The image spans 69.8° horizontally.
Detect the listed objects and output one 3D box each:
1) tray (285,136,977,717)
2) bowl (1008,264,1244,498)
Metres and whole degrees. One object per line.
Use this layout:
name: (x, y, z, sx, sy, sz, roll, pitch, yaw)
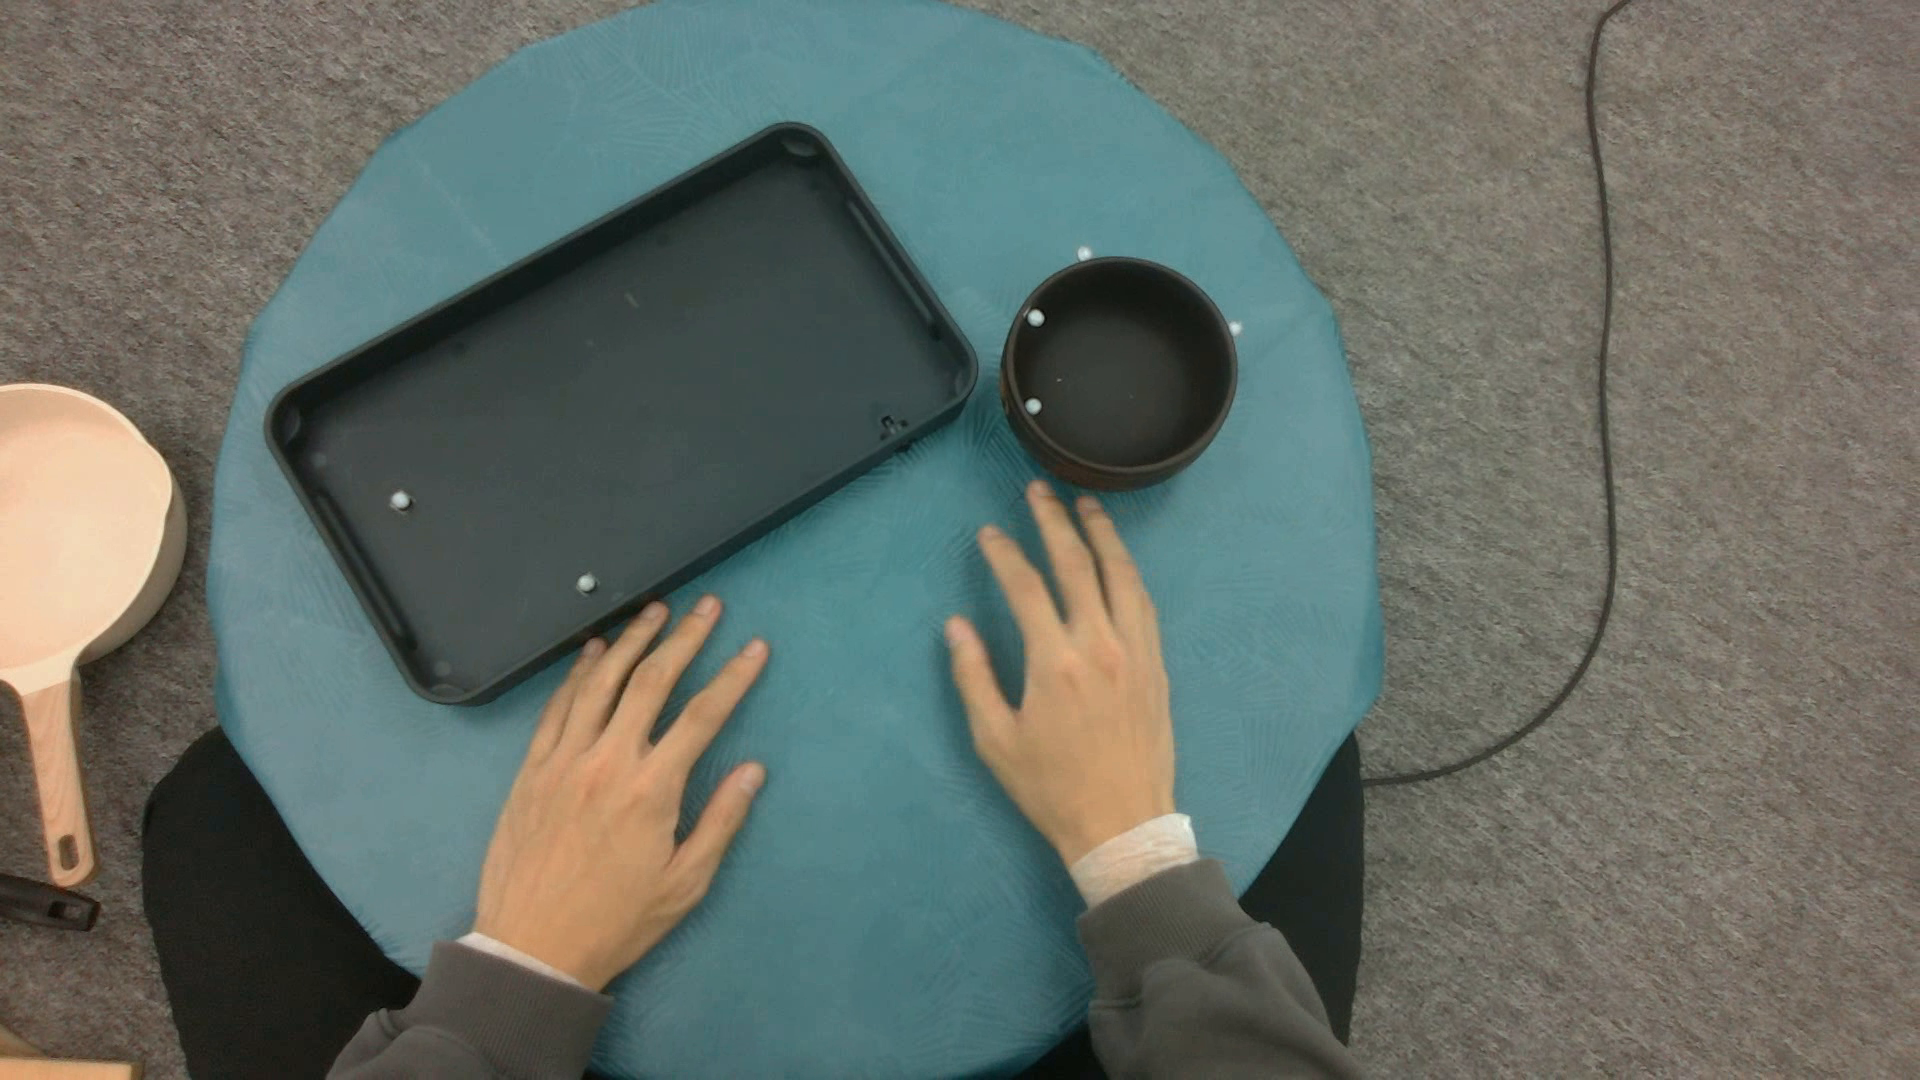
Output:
tray: (-0.164, -0.064, 0.717, 0.318, 0.037, 0.184, -34, 80, -12)
bowl: (0.083, -0.077, 0.717, 0.118, 0.069, 0.118, 1, 77, -3)
